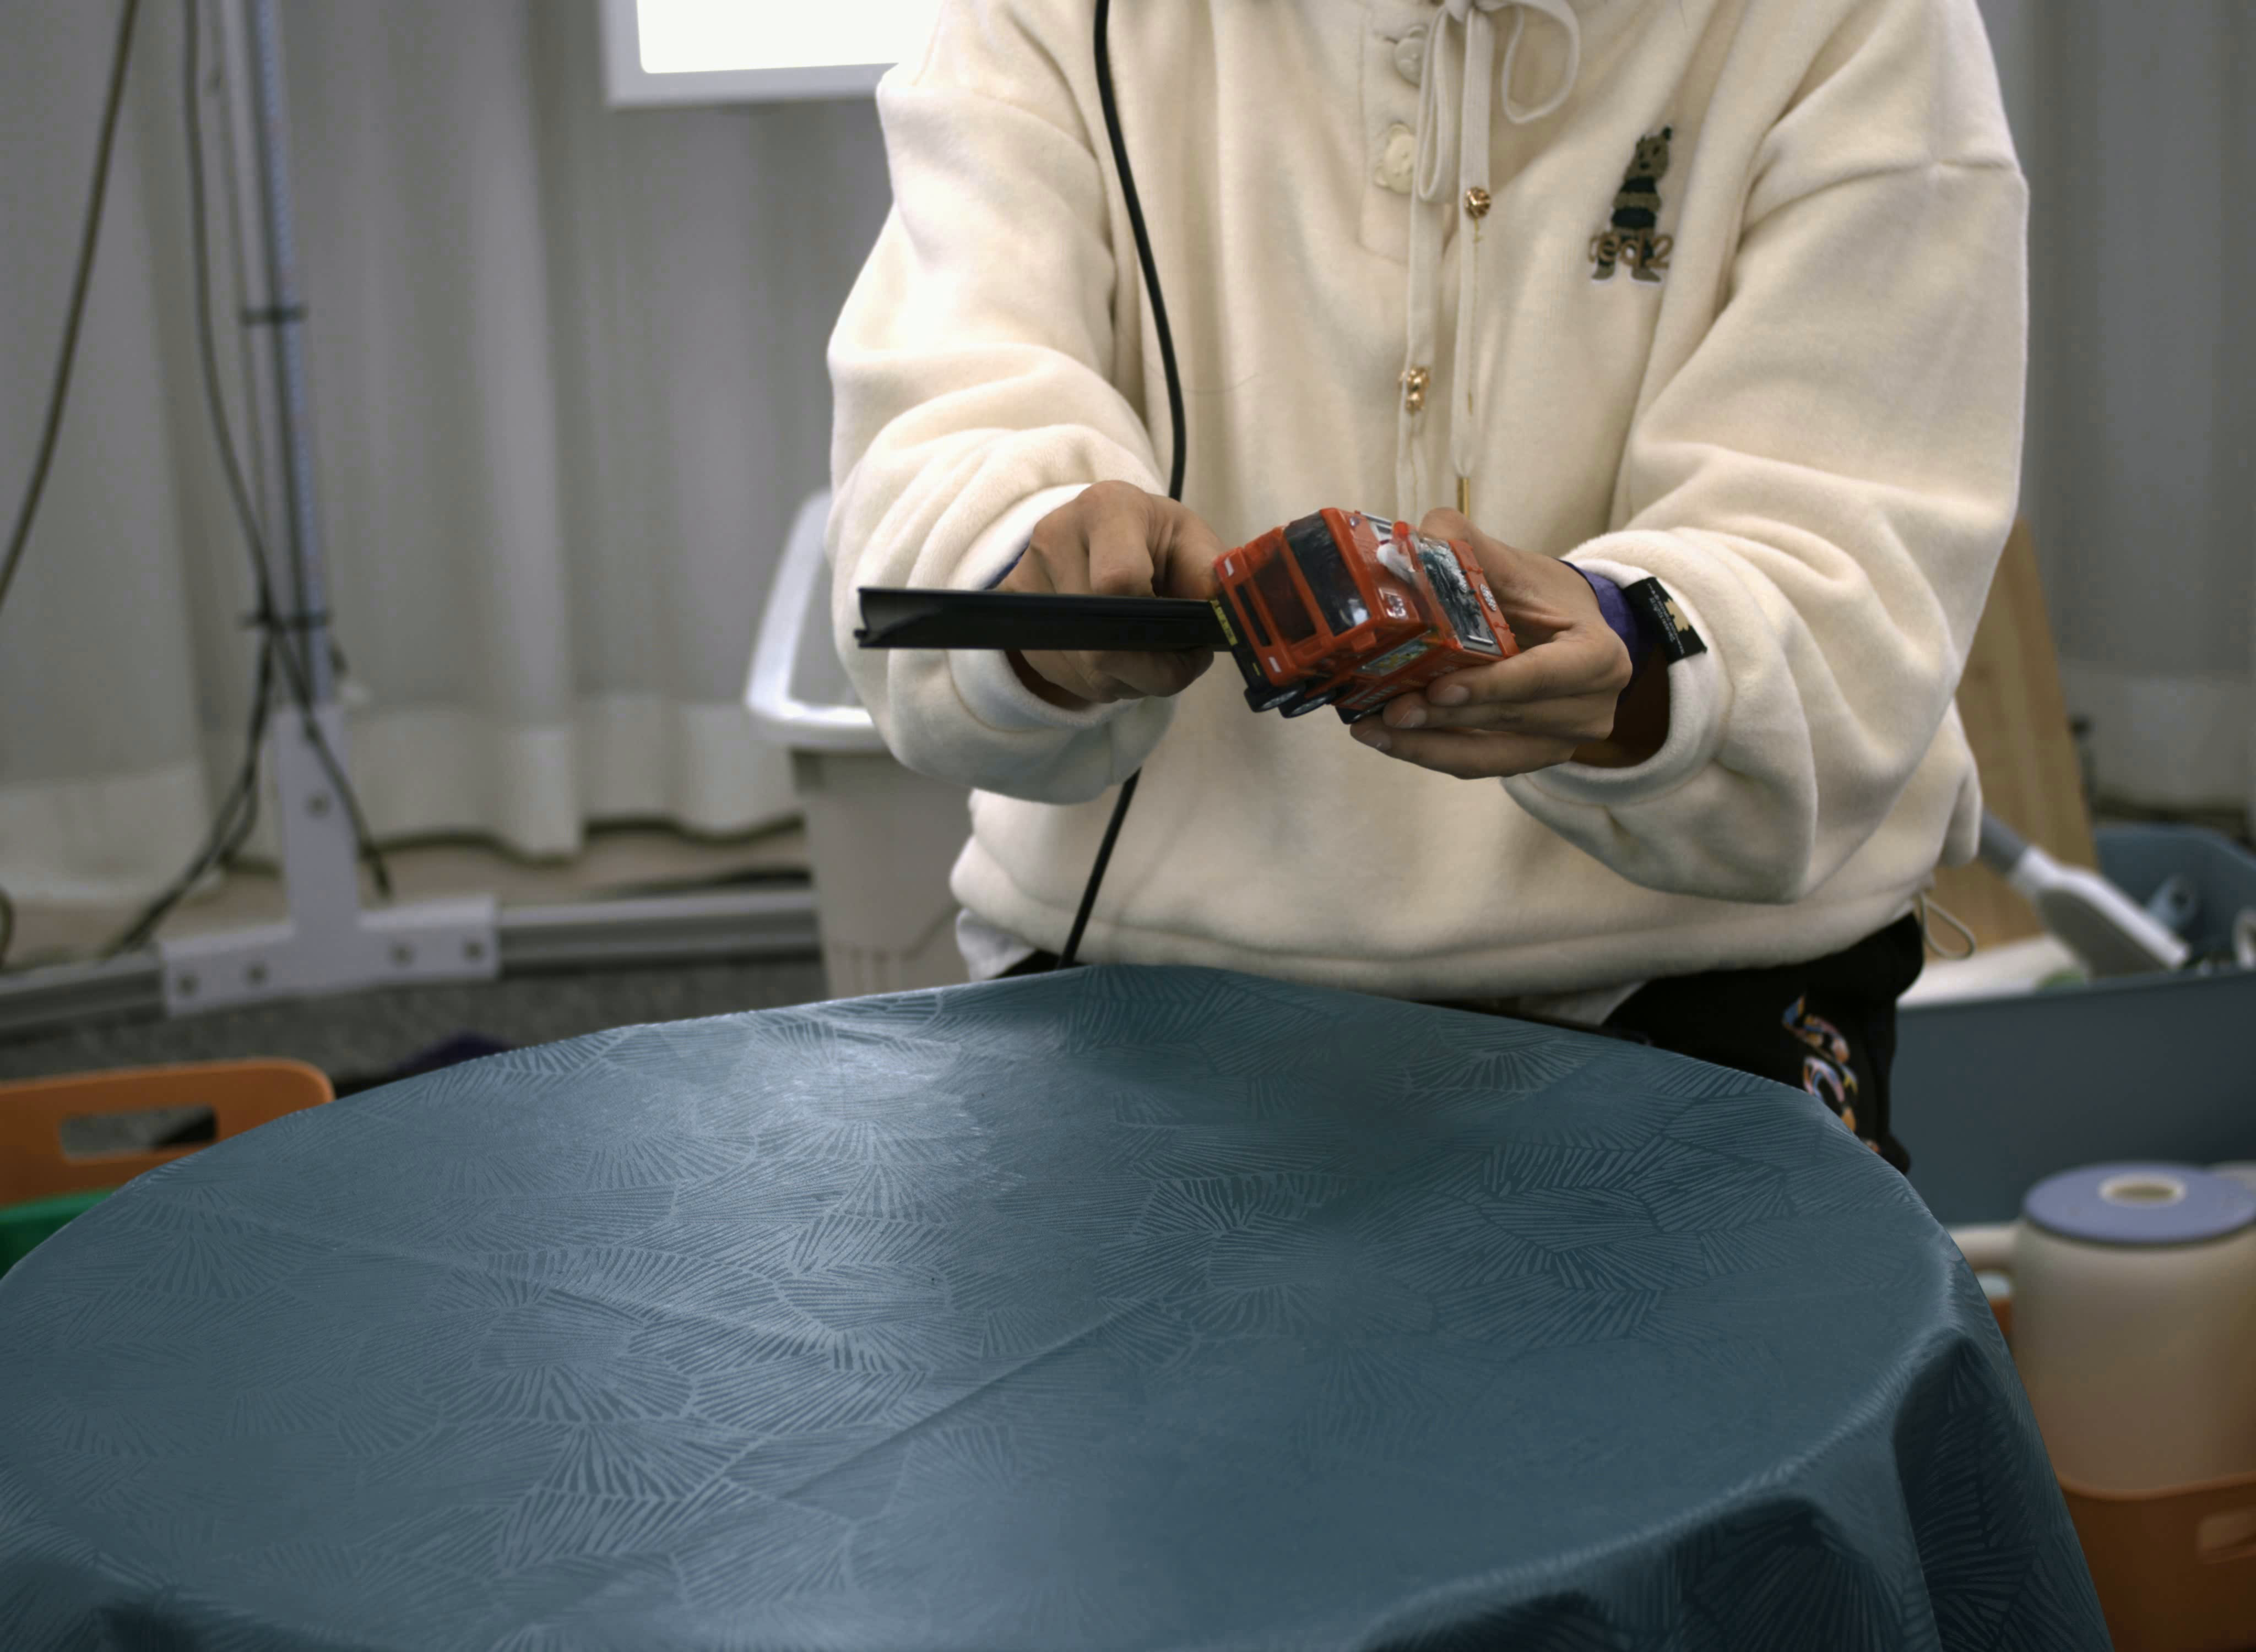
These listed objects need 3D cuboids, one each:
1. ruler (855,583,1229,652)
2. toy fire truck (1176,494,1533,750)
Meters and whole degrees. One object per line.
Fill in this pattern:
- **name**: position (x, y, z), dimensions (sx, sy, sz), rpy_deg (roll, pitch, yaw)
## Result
- **ruler**: position (-0.002, -0.067, 1.633), dimensions (0.039, 0.017, 0.311), rpy_deg (-21, -7, 22)
- **toy fire truck**: position (0.072, -0.062, 1.674), dimensions (0.070, 0.054, 0.167), rpy_deg (-29, -12, 15)
